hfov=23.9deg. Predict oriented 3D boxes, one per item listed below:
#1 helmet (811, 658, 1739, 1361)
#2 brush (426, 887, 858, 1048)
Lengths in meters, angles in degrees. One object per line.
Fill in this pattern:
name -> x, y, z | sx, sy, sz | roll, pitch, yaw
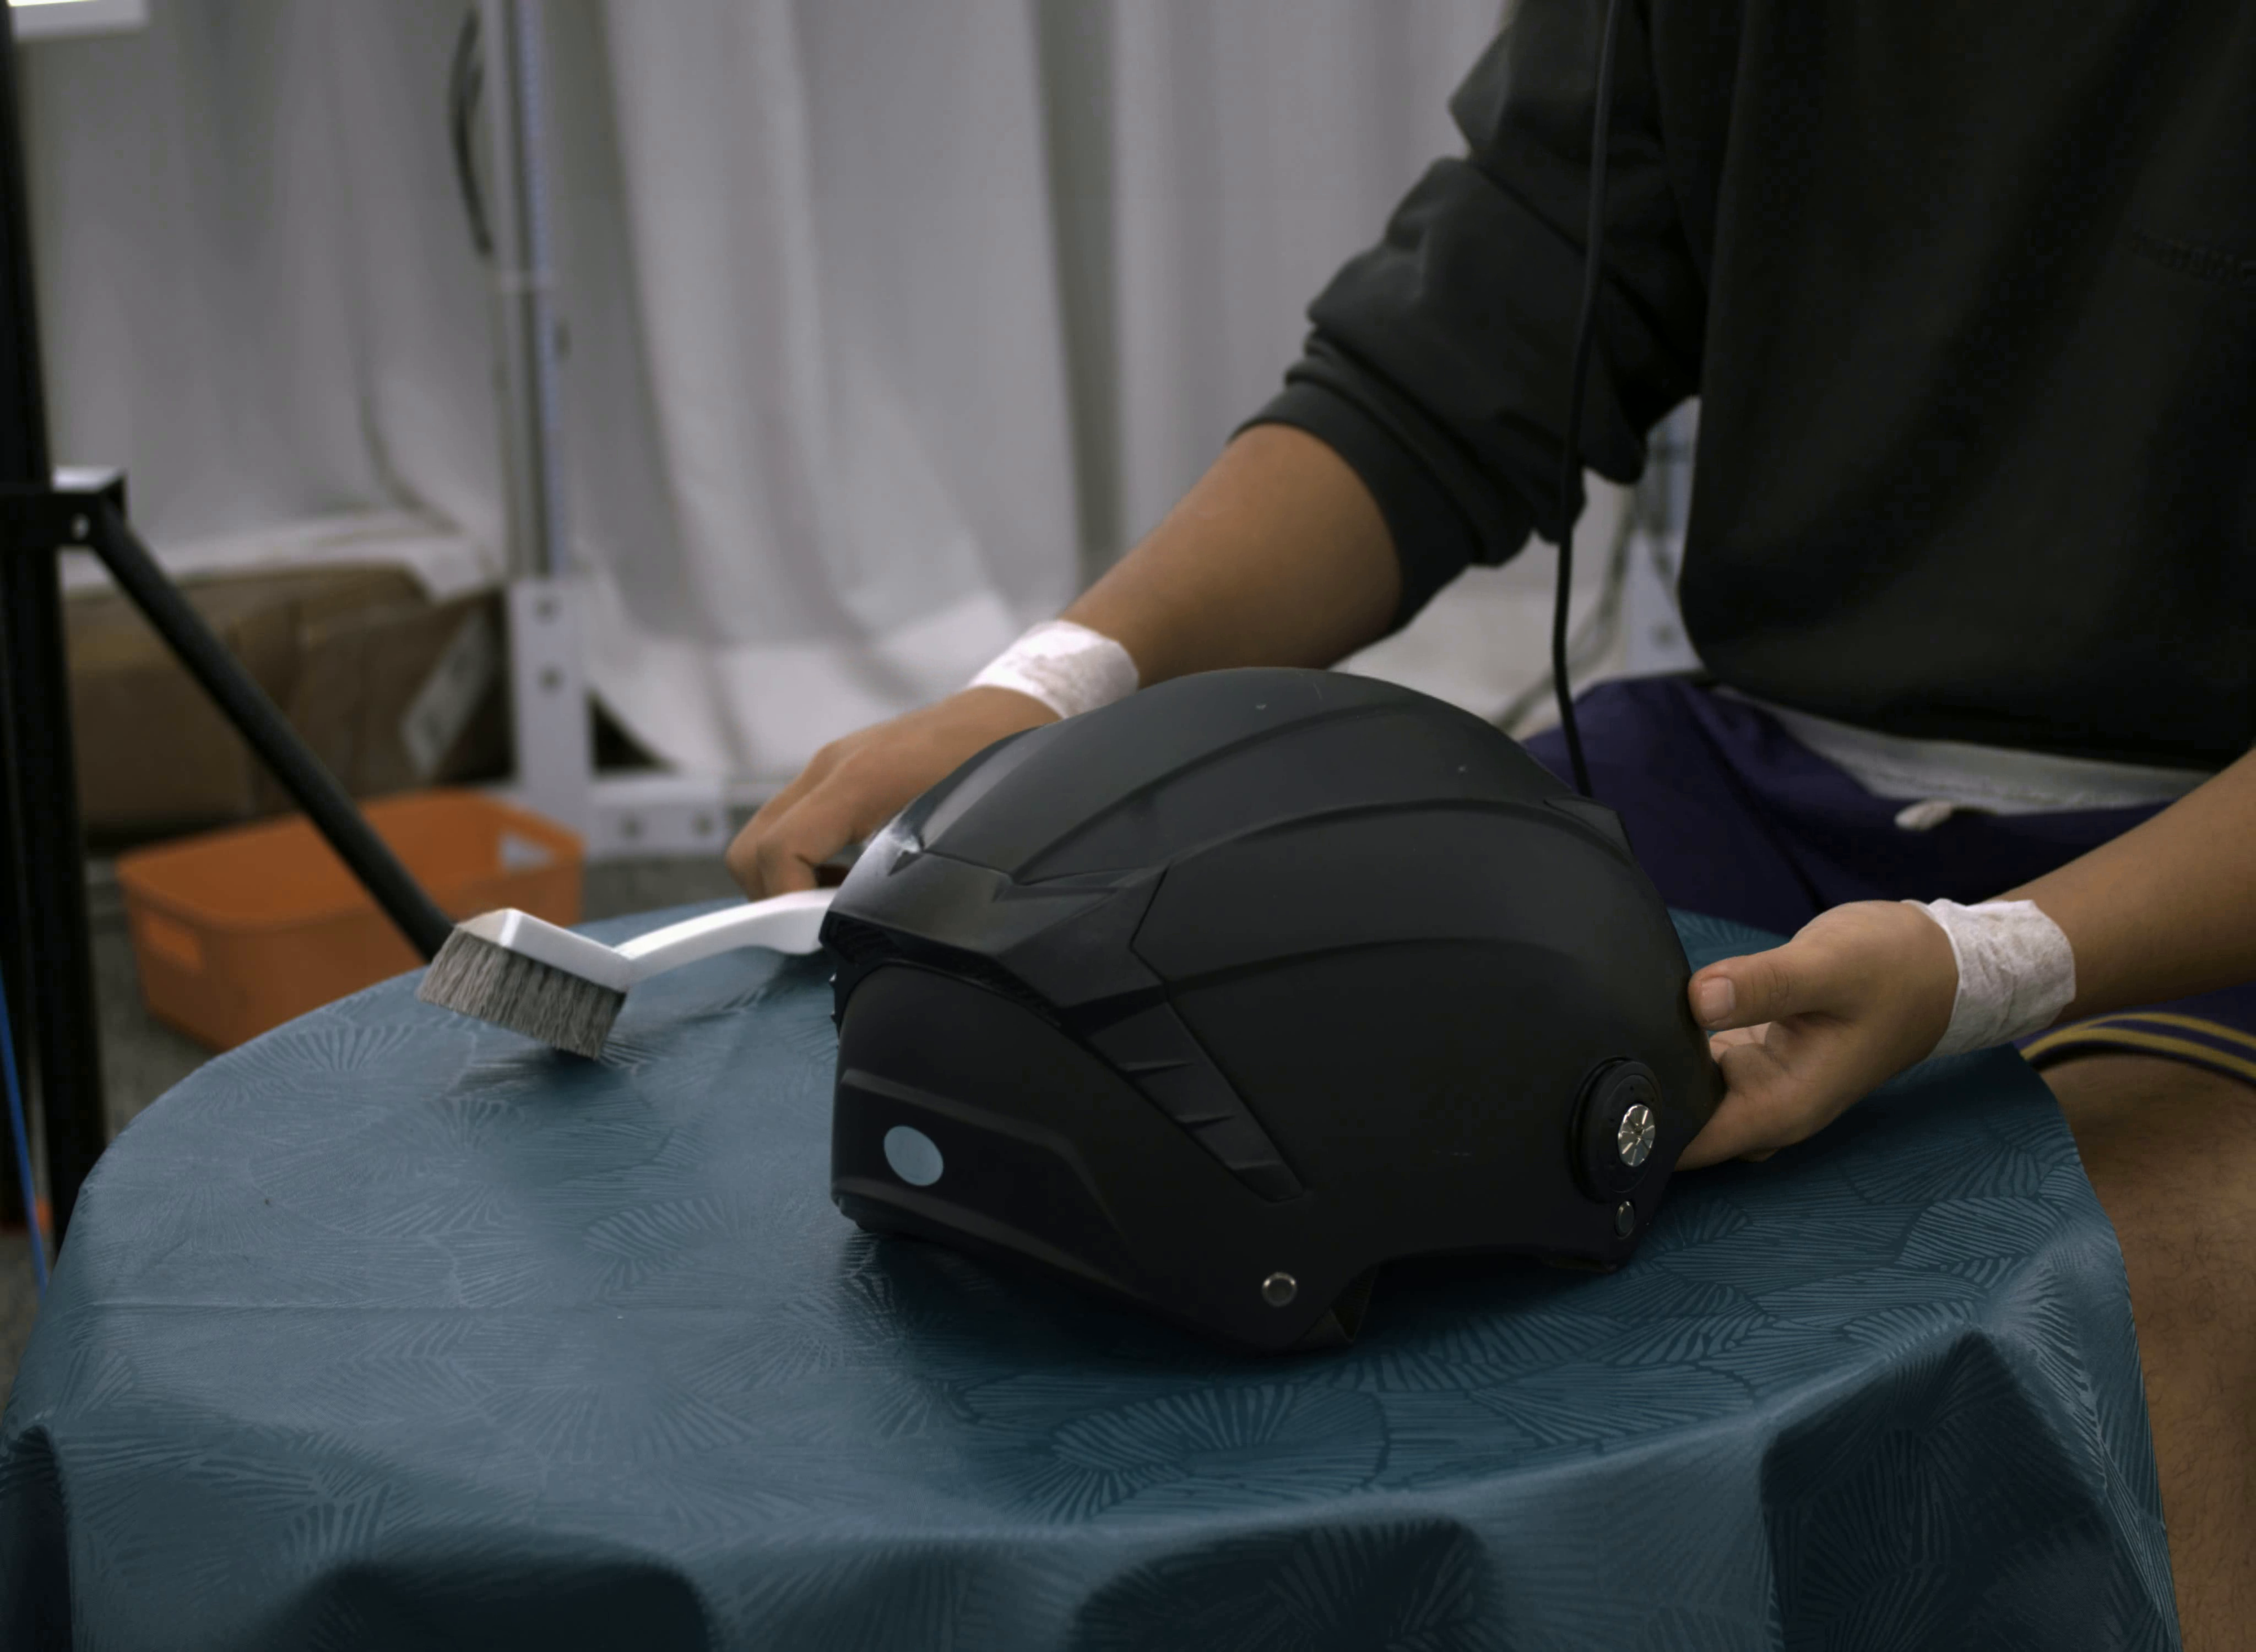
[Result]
helmet -> 0.042, 0.039, 1.509 | 0.271, 0.172, 0.252 | -19, 23, -37
brush -> -0.132, 0.046, 1.760 | 0.035, 0.050, 0.237 | 11, 7, 41
